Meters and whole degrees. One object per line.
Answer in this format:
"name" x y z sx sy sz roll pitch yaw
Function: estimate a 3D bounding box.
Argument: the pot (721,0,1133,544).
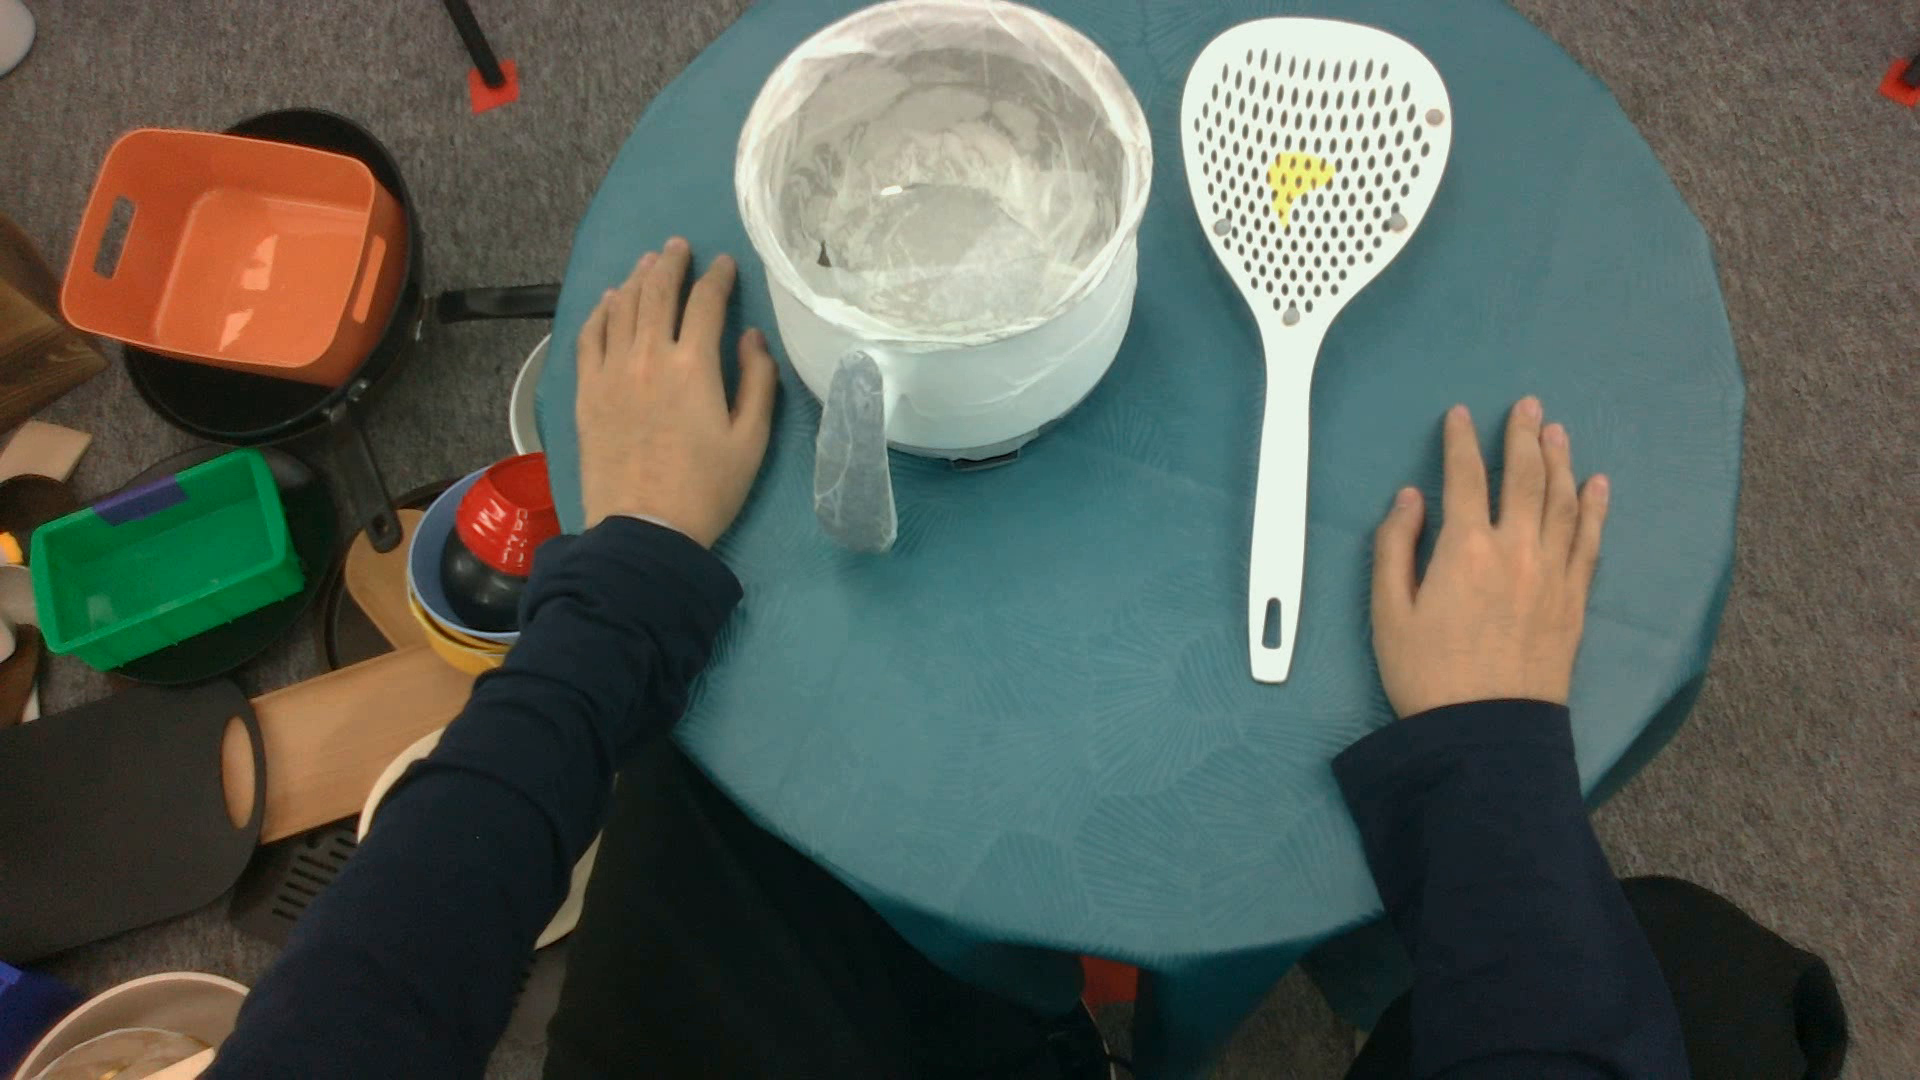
"pot" -0.019 -0.118 0.637 0.178 0.136 0.234 15 70 9

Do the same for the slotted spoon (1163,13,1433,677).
"slotted spoon" 0.158 -0.107 0.678 0.137 0.050 0.349 6 68 3
